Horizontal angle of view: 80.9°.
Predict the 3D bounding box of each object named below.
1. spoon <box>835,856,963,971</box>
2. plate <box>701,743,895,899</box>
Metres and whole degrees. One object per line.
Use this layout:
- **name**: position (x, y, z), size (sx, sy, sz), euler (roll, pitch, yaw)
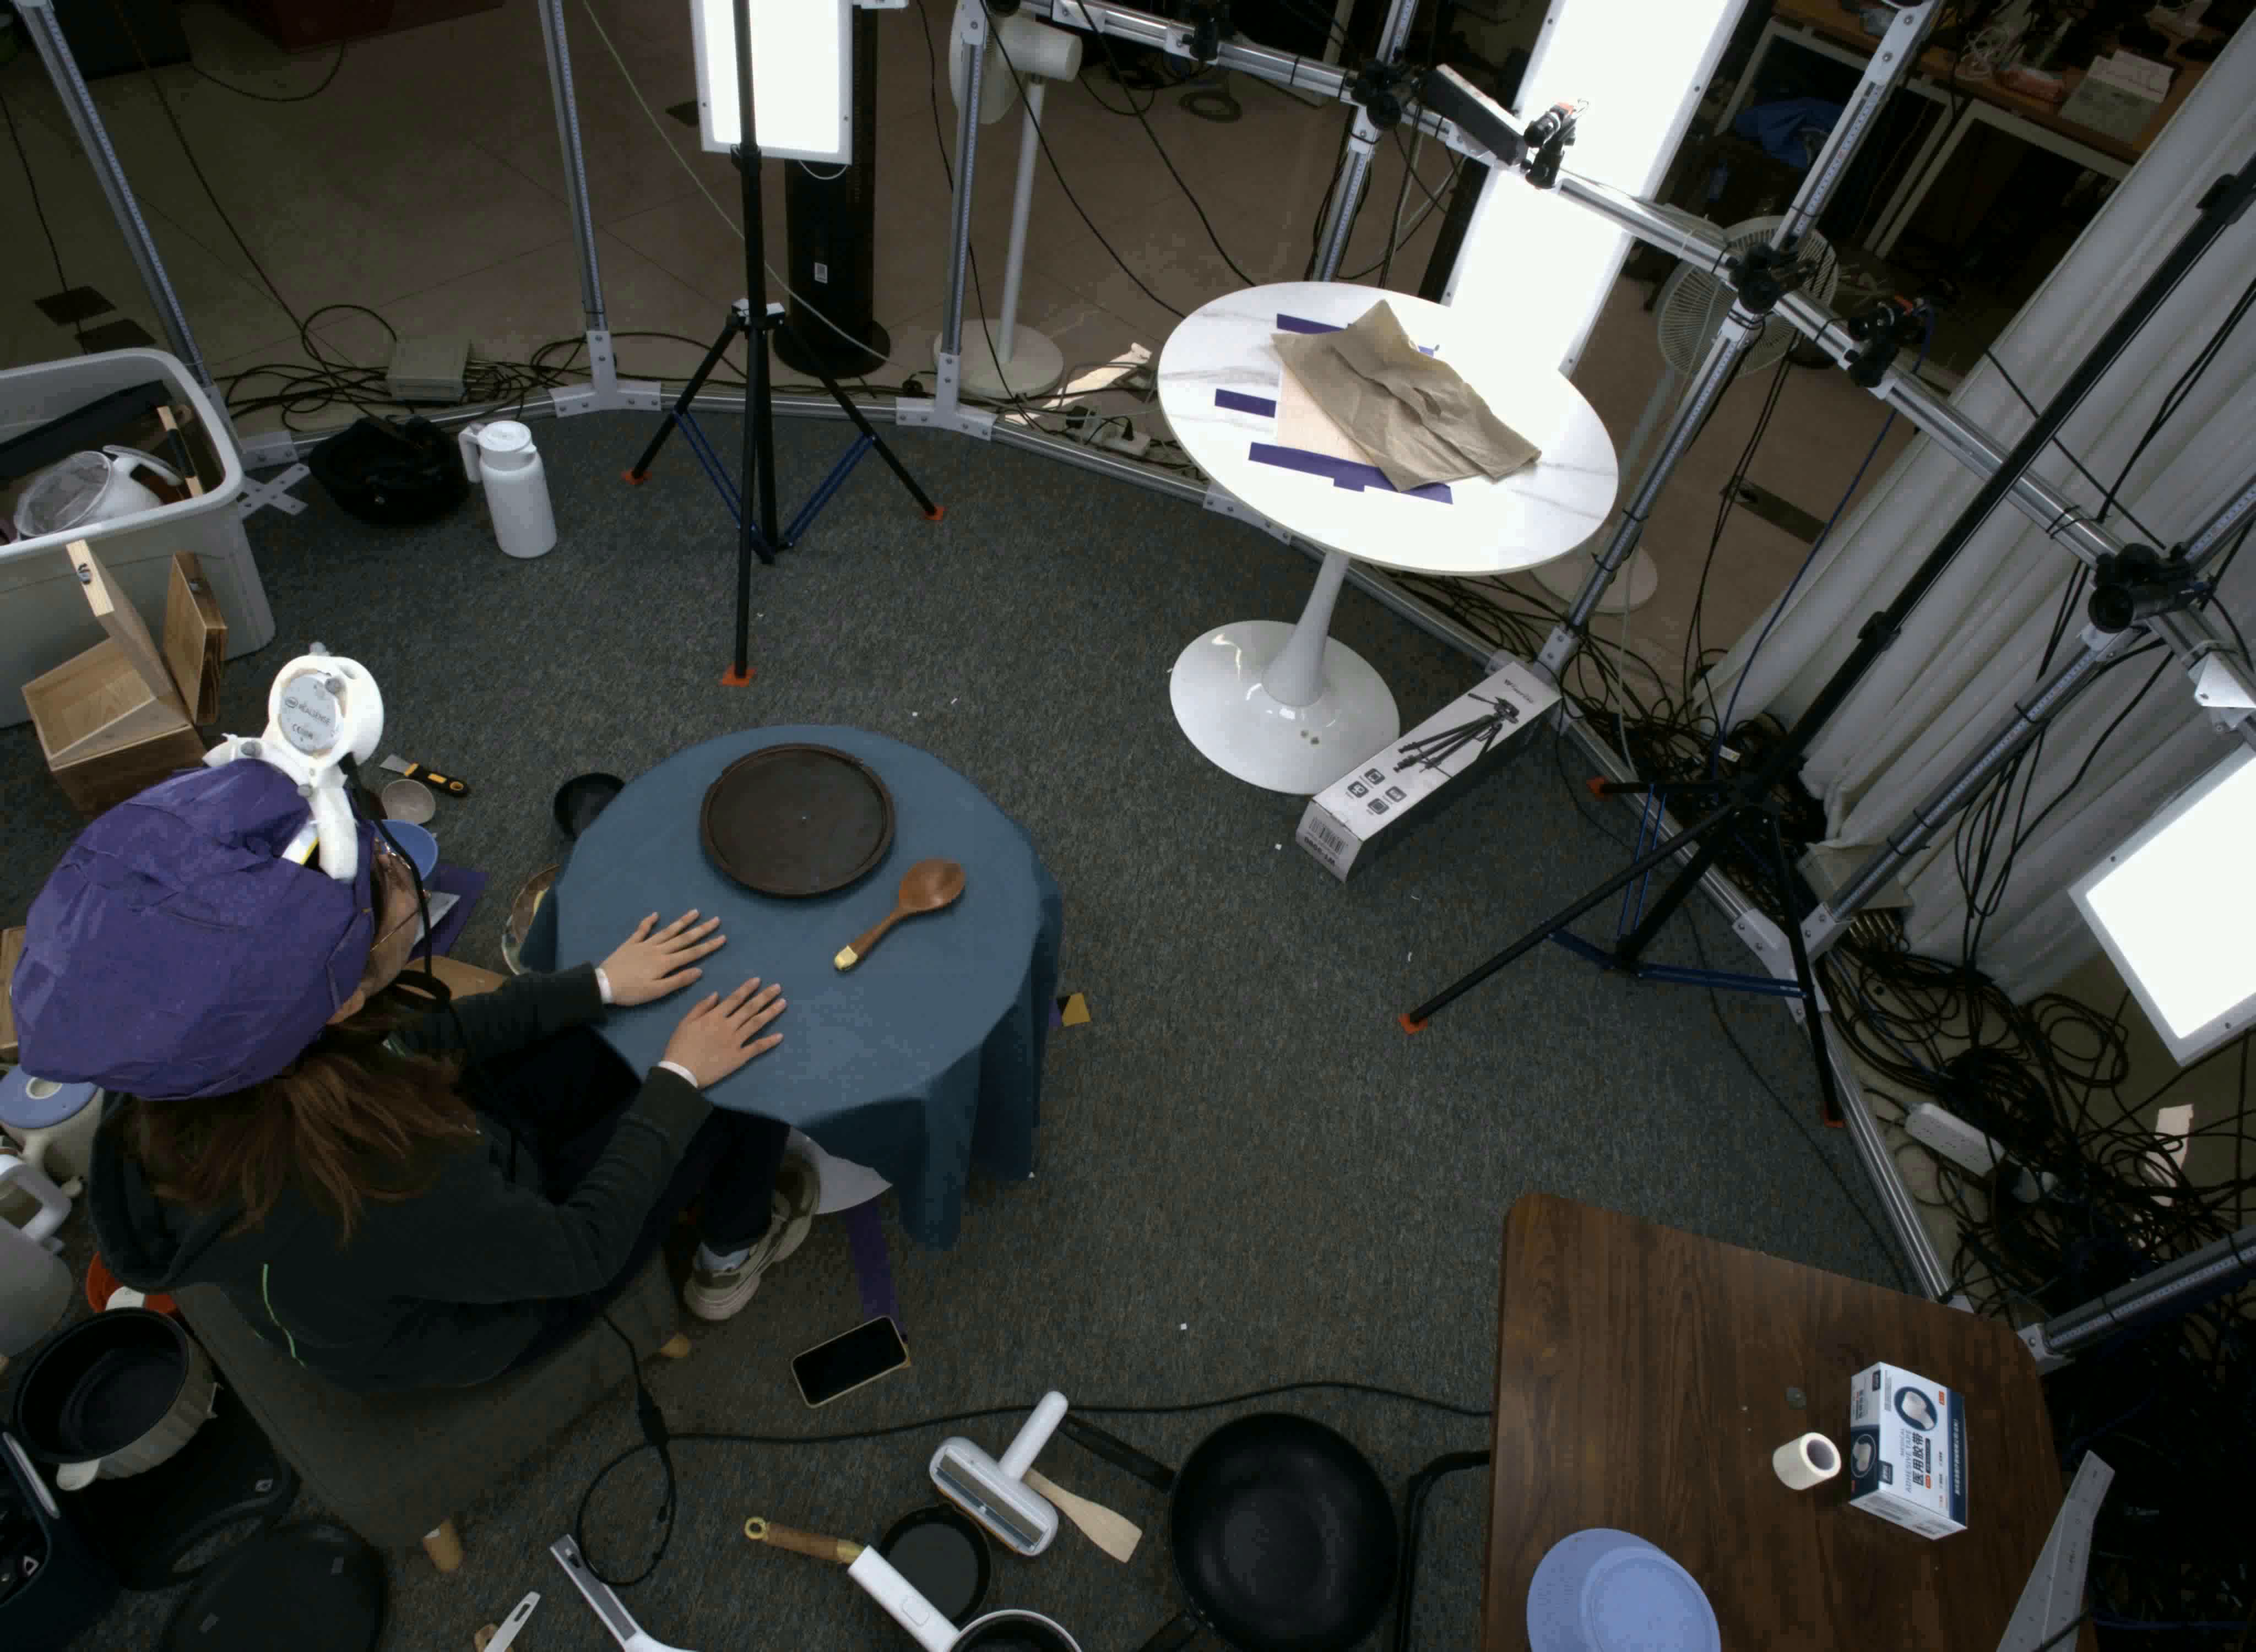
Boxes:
- **spoon**: position (-0.295, 0.111, 1.668), size (0.074, 0.017, 0.216), euler (37, 54, 13)
- **plate**: position (-0.436, -0.009, 1.719), size (0.254, 0.029, 0.250), euler (8, 51, -8)
